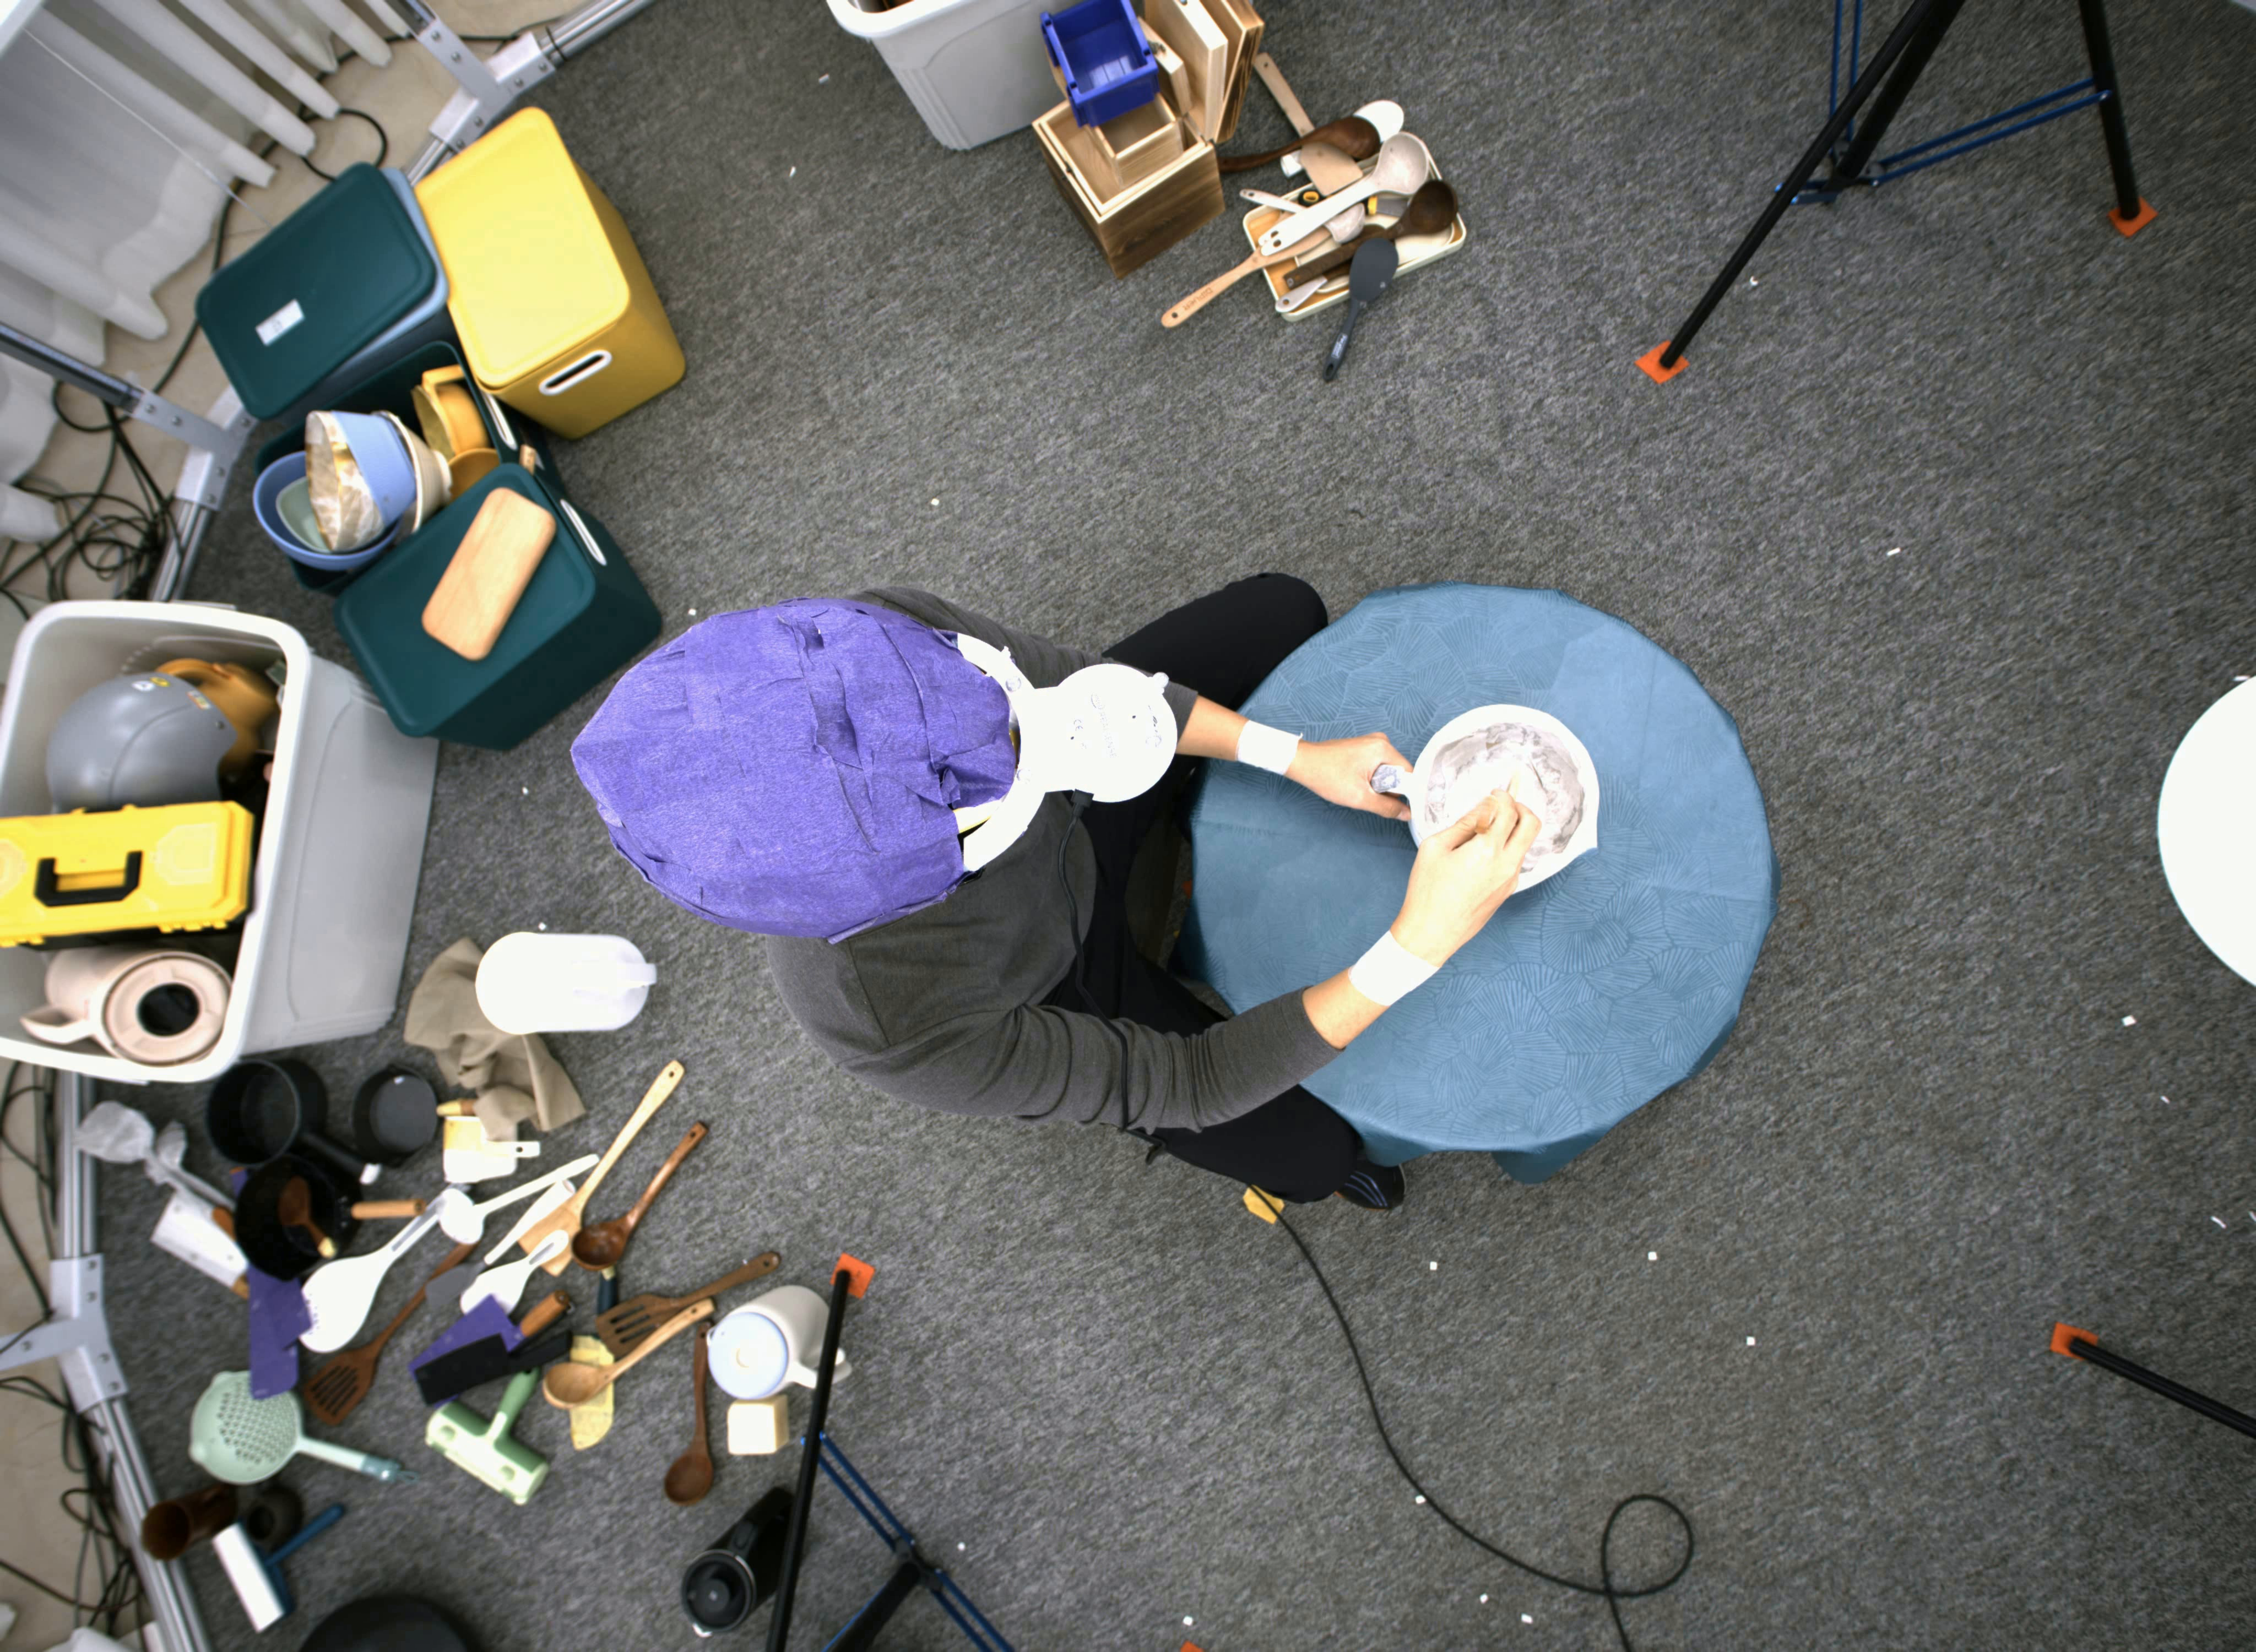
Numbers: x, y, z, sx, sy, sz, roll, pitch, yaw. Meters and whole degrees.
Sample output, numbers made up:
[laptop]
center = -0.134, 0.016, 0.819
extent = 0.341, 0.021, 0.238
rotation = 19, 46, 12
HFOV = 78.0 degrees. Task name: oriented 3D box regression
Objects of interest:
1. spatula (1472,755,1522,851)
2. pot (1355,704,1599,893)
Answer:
[spatula]
center = 0.321, -0.020, 1.197
extent = 0.018, 0.388, 0.096
rotation = 16, 97, 18
[pot]
center = 0.345, -0.029, 1.382
extent = 0.234, 0.137, 0.178
rotation = 10, 87, 11
